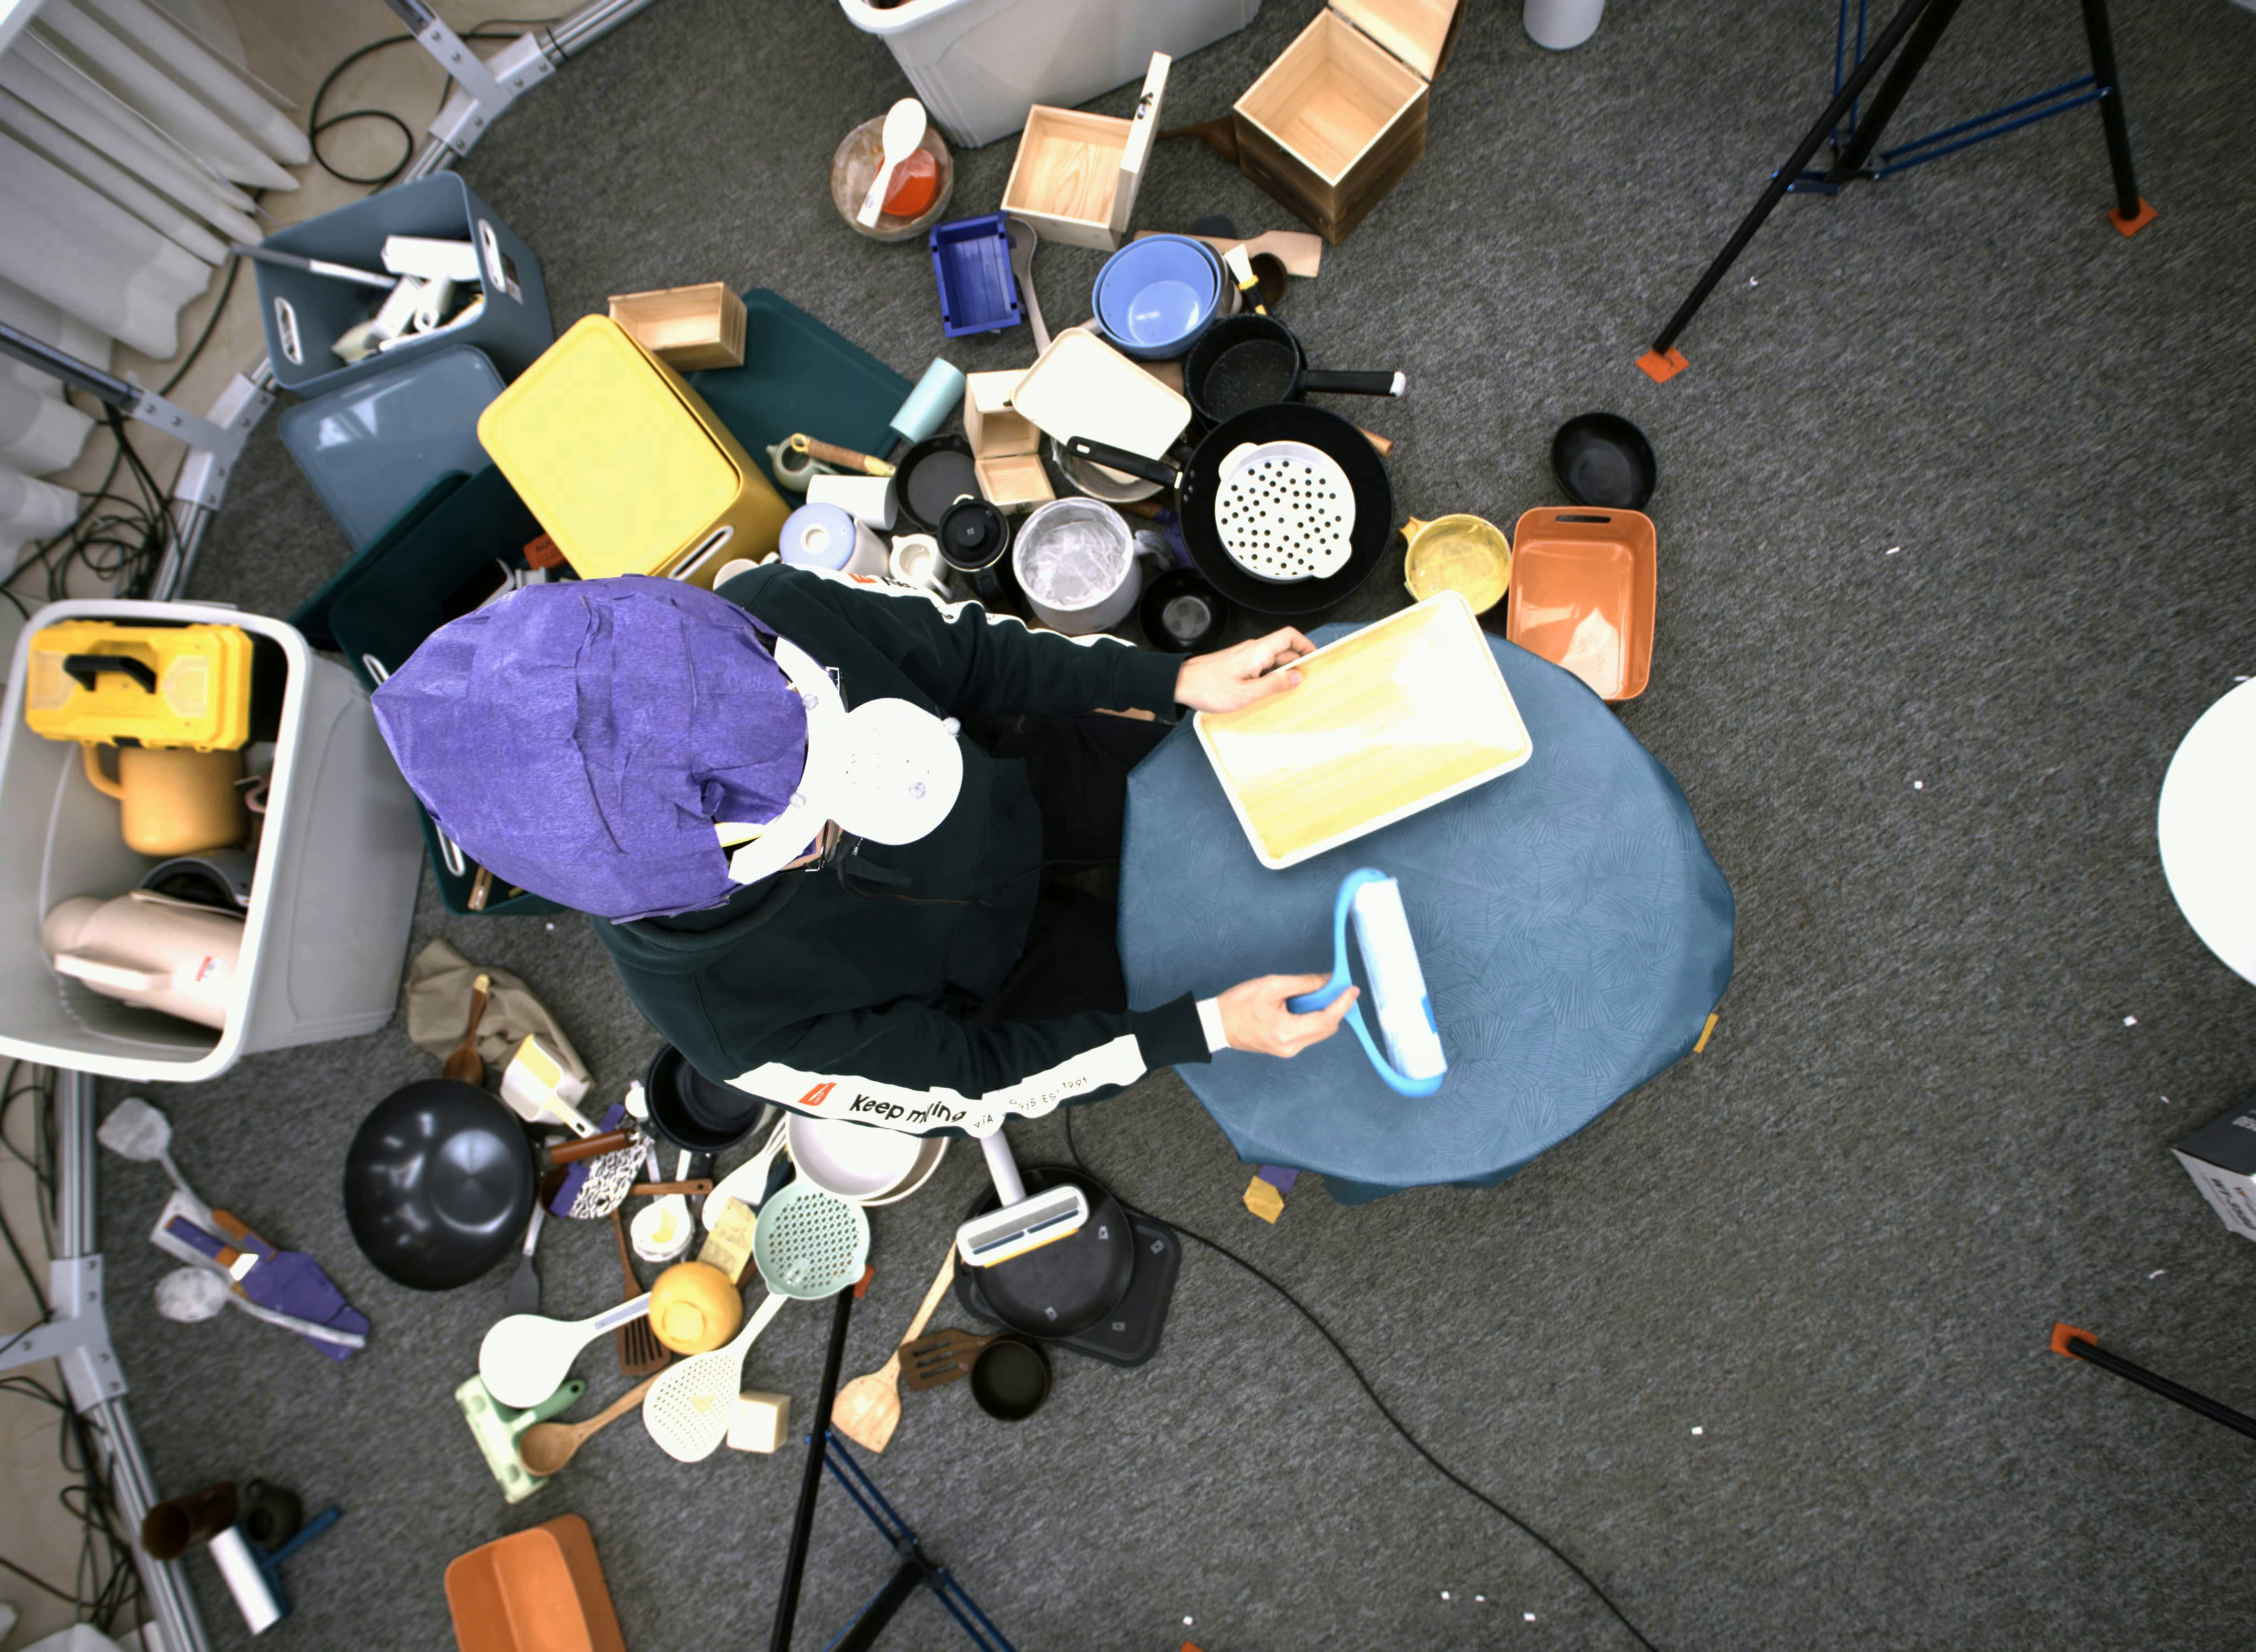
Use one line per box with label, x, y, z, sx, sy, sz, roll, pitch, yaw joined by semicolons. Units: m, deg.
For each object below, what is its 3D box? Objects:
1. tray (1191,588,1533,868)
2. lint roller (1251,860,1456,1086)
tray;0.232;-0.096;1.382;0.304;0.027;0.193;-23;101;19
lint roller;0.208;0.162;1.354;0.181;0.068;0.228;-21;88;4
